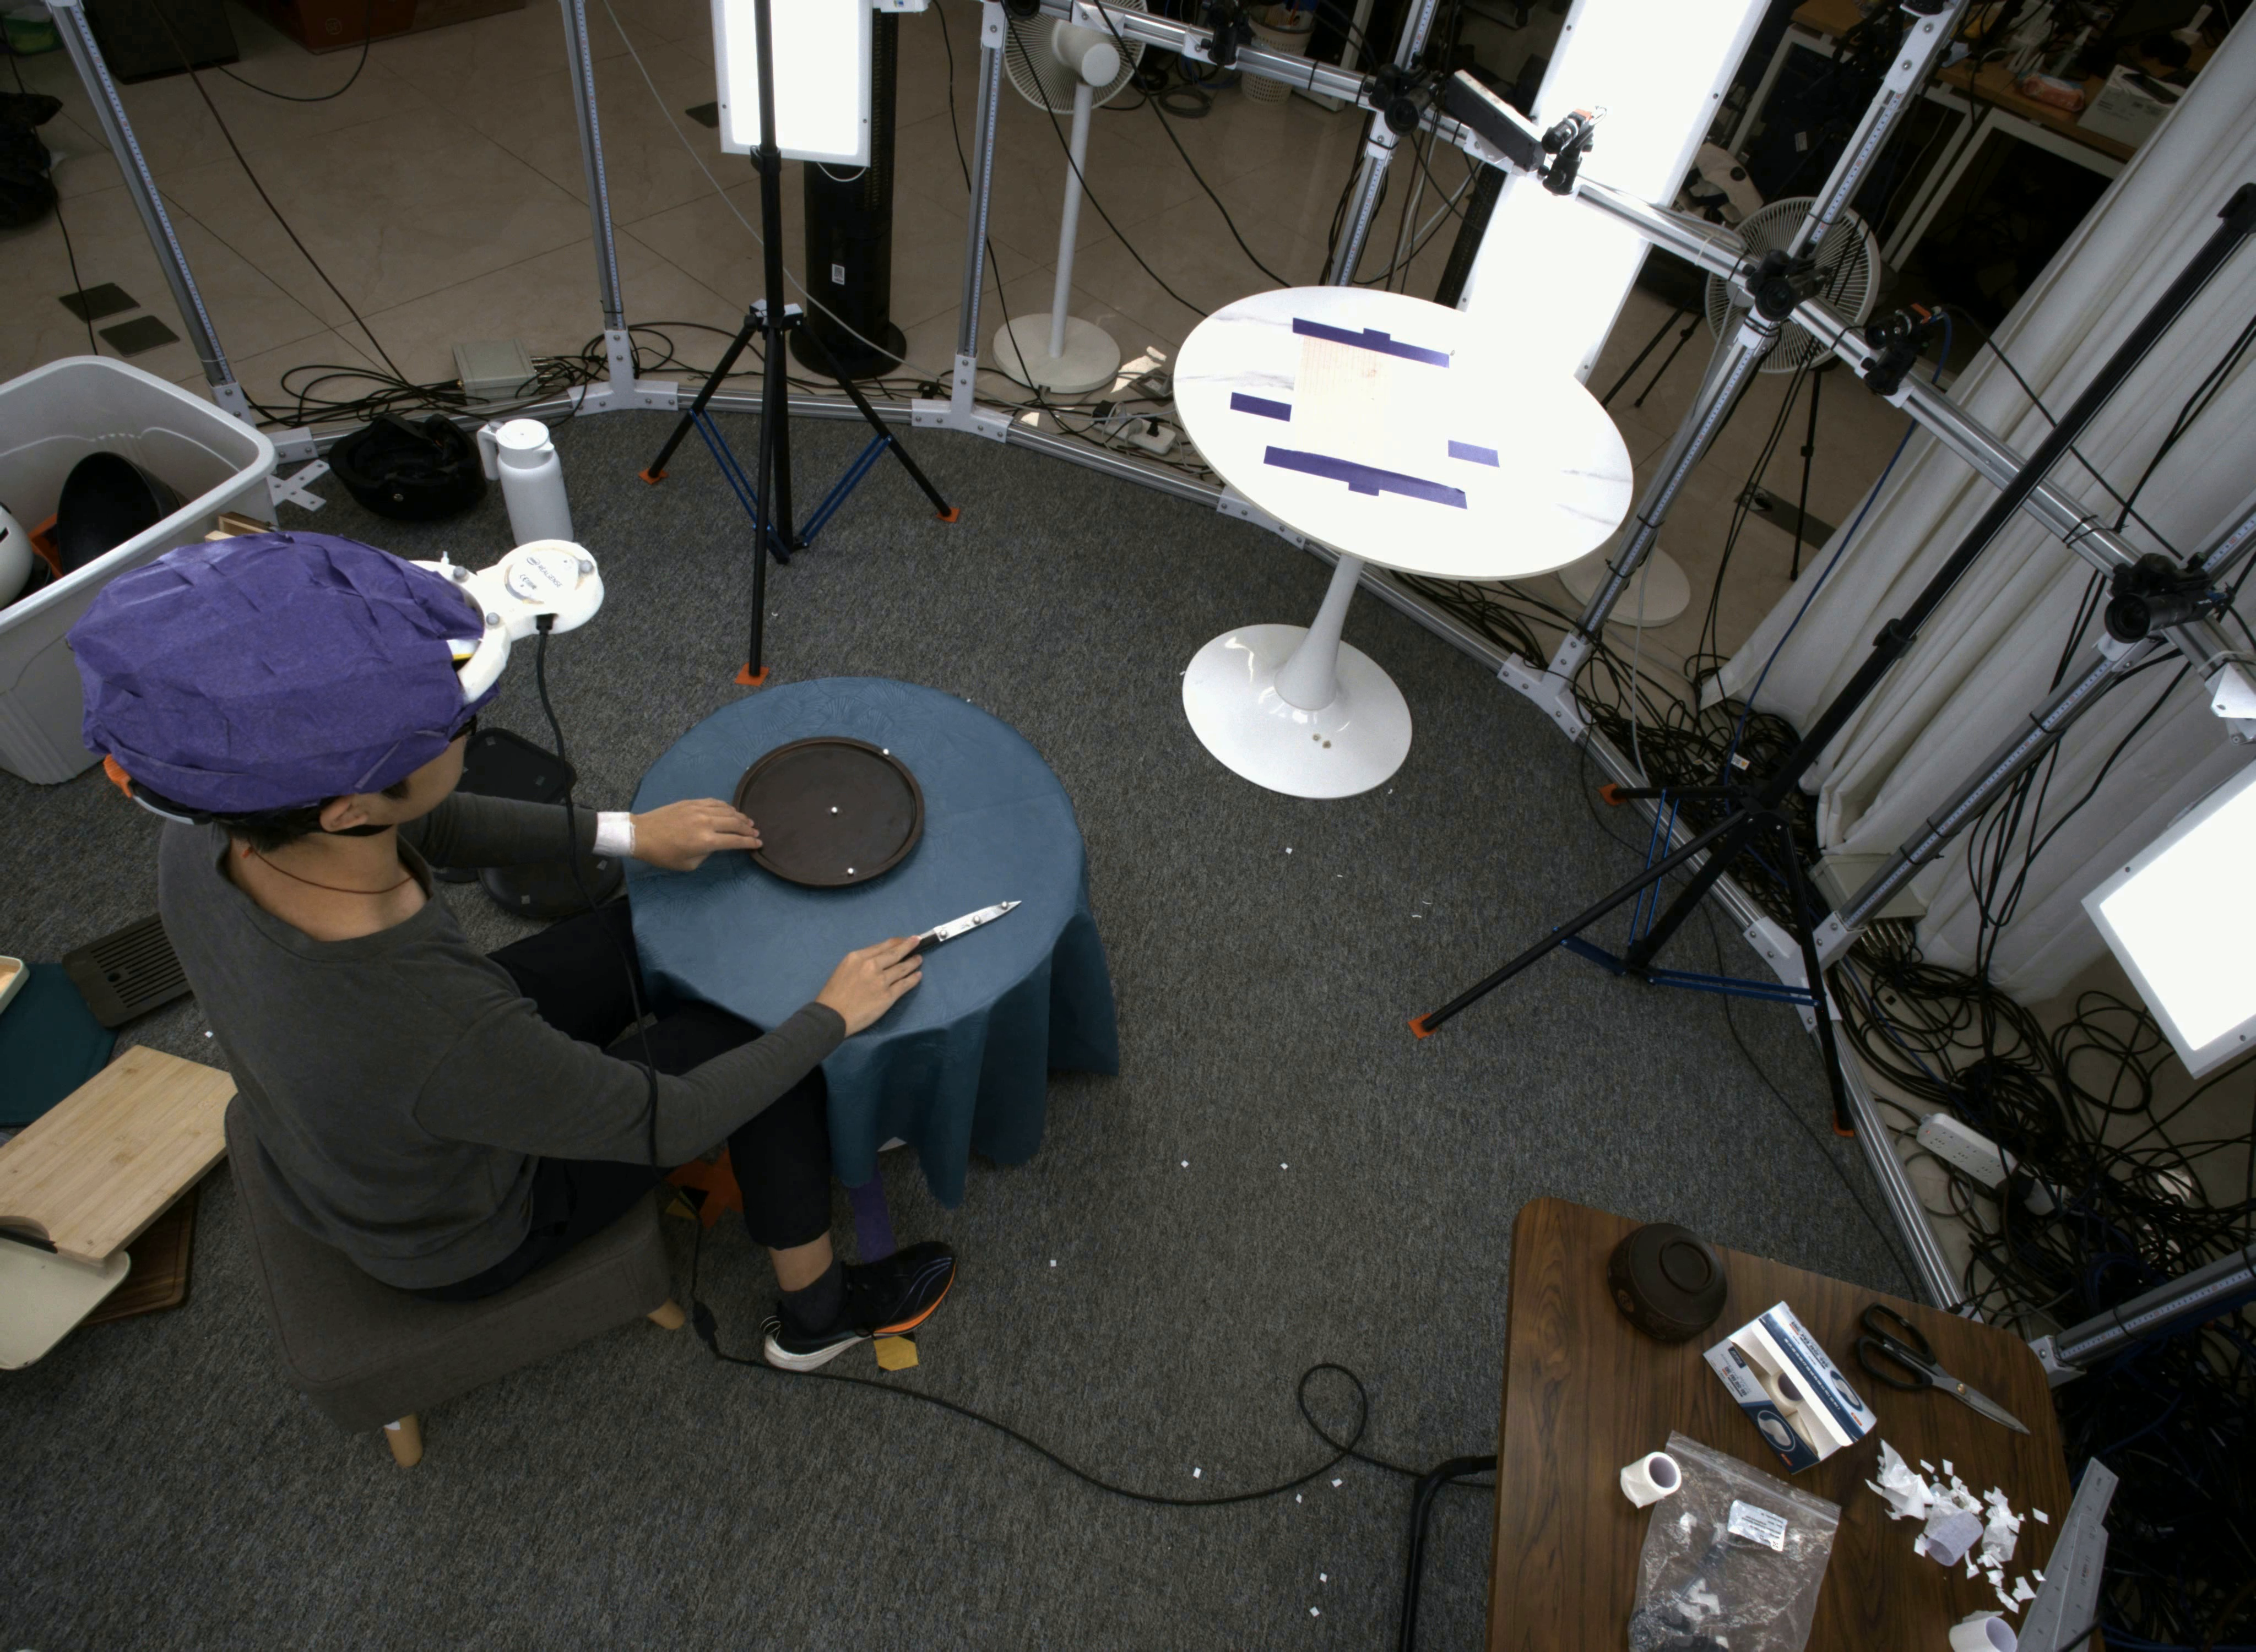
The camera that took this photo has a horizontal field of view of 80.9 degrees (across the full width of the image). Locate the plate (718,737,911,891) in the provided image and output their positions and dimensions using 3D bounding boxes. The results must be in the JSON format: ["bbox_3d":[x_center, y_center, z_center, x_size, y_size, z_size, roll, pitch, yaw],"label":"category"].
[{"bbox_3d":[-0.418,-0.018,1.735,0.254,0.029,0.250,8,51,-9],"label":"plate"}]

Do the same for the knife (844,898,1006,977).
[{"bbox_3d":[-0.254,0.138,1.669,0.239,0.017,0.024,-24,54,-30],"label":"knife"}]
